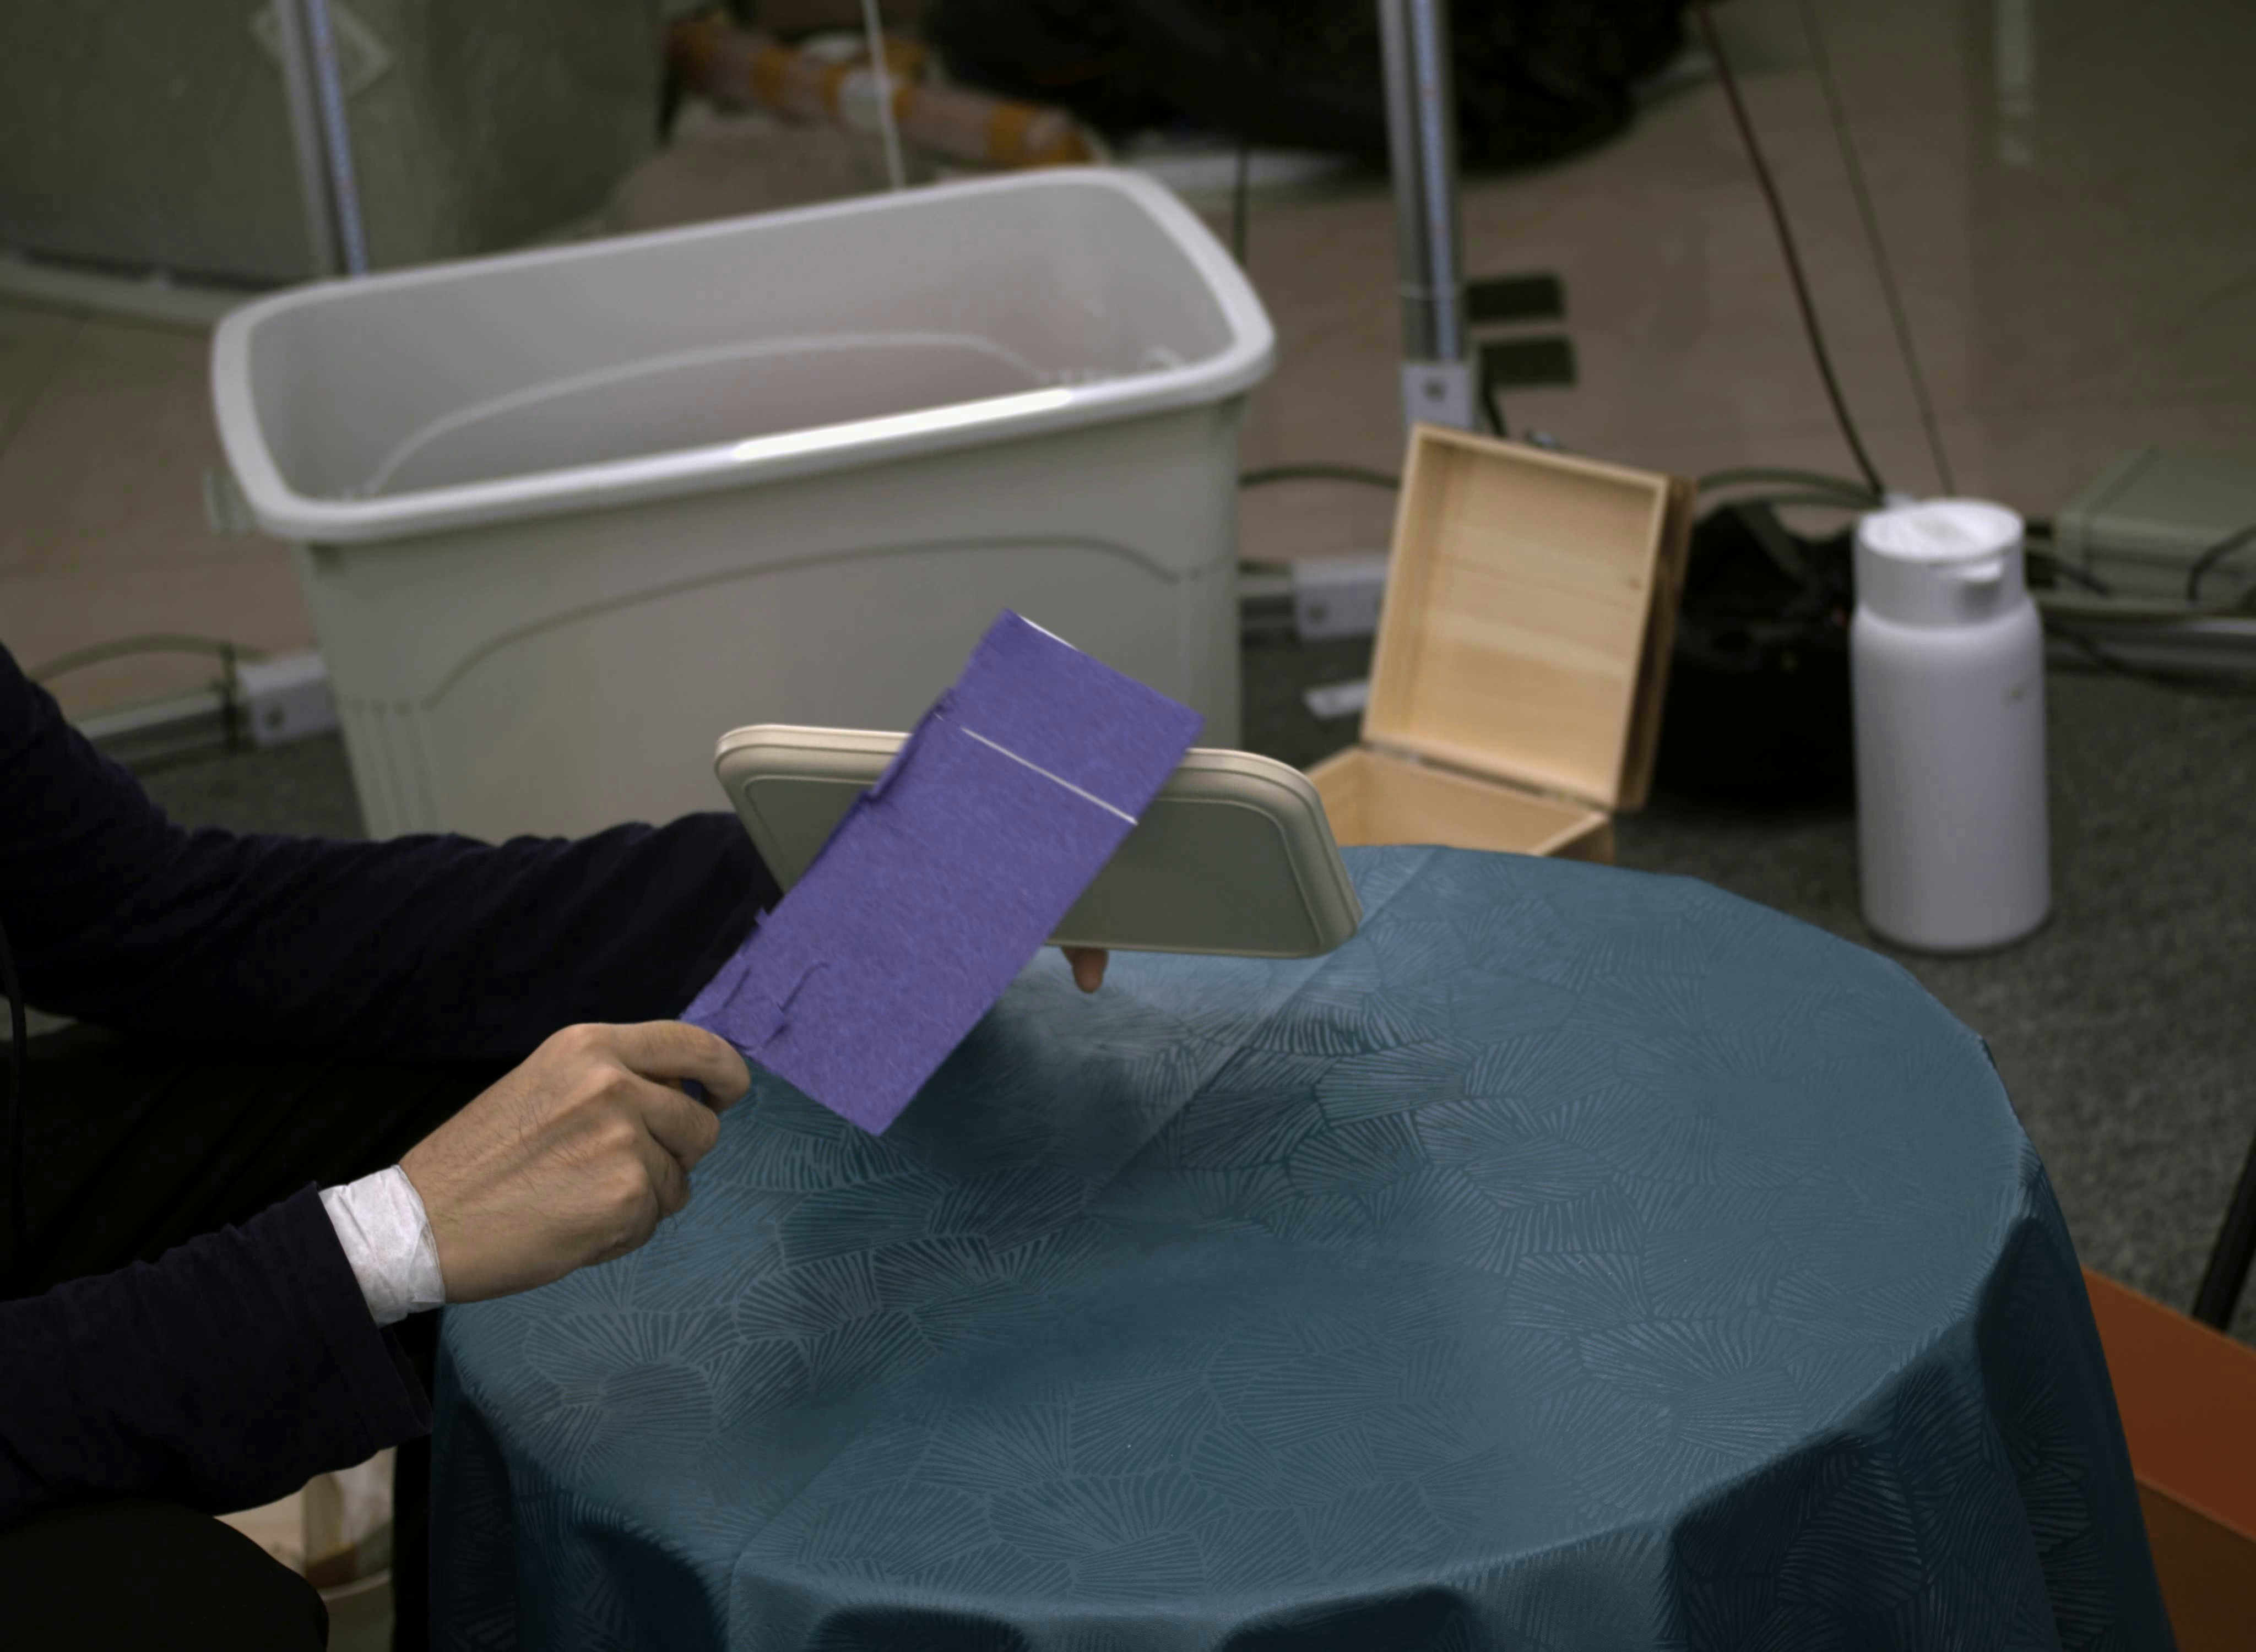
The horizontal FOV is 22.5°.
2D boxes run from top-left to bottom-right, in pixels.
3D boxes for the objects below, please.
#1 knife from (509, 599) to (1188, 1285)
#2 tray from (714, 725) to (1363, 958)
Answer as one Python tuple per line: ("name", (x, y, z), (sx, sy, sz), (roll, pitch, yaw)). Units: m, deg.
("knife", (-0.095, 0.051, 2.042), (0.103, 0.033, 0.312), (30, 70, 21))
("tray", (-0.034, 0.009, 2.201), (0.239, 0.174, 0.017), (3, 66, 13))
